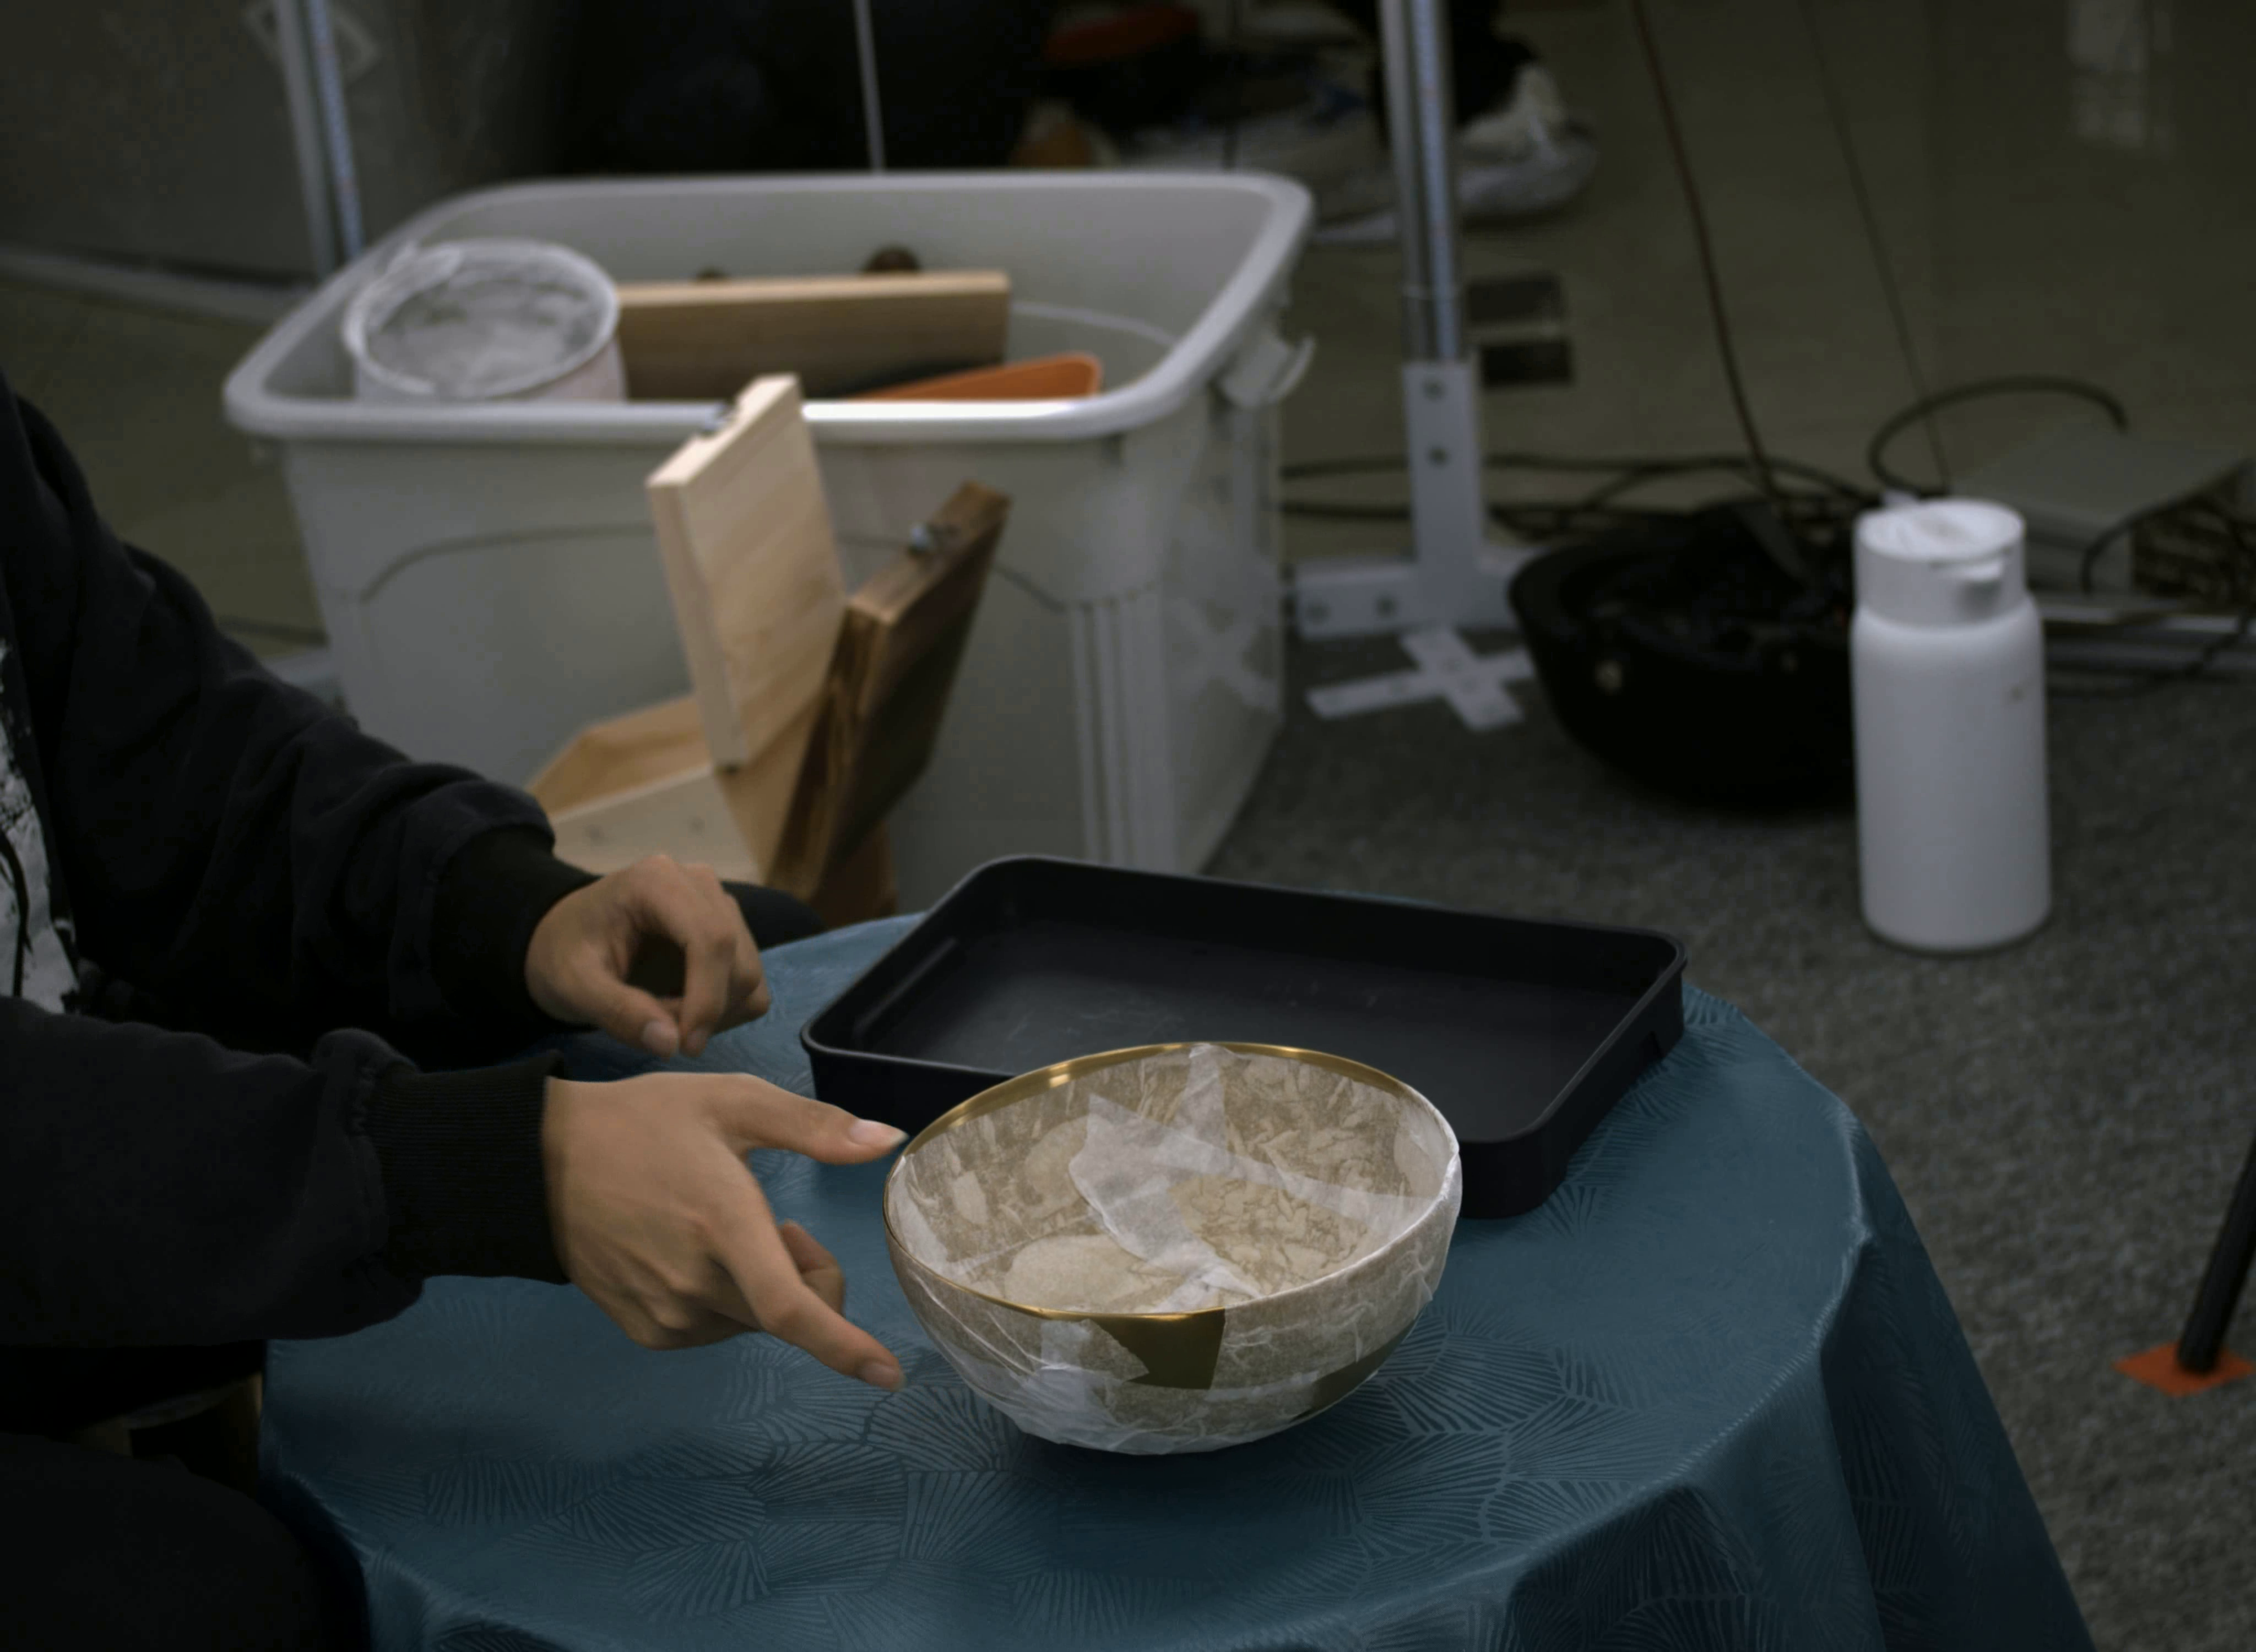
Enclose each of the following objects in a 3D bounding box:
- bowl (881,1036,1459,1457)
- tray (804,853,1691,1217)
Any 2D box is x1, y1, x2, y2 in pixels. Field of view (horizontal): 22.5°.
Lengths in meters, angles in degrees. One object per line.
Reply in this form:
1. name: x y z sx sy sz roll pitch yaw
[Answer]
1. bowl: 0.016 0.159 1.995 0.214 0.096 0.211 -5 26 3
2. tray: 0.047 0.079 2.225 0.317 0.037 0.182 7 29 28
